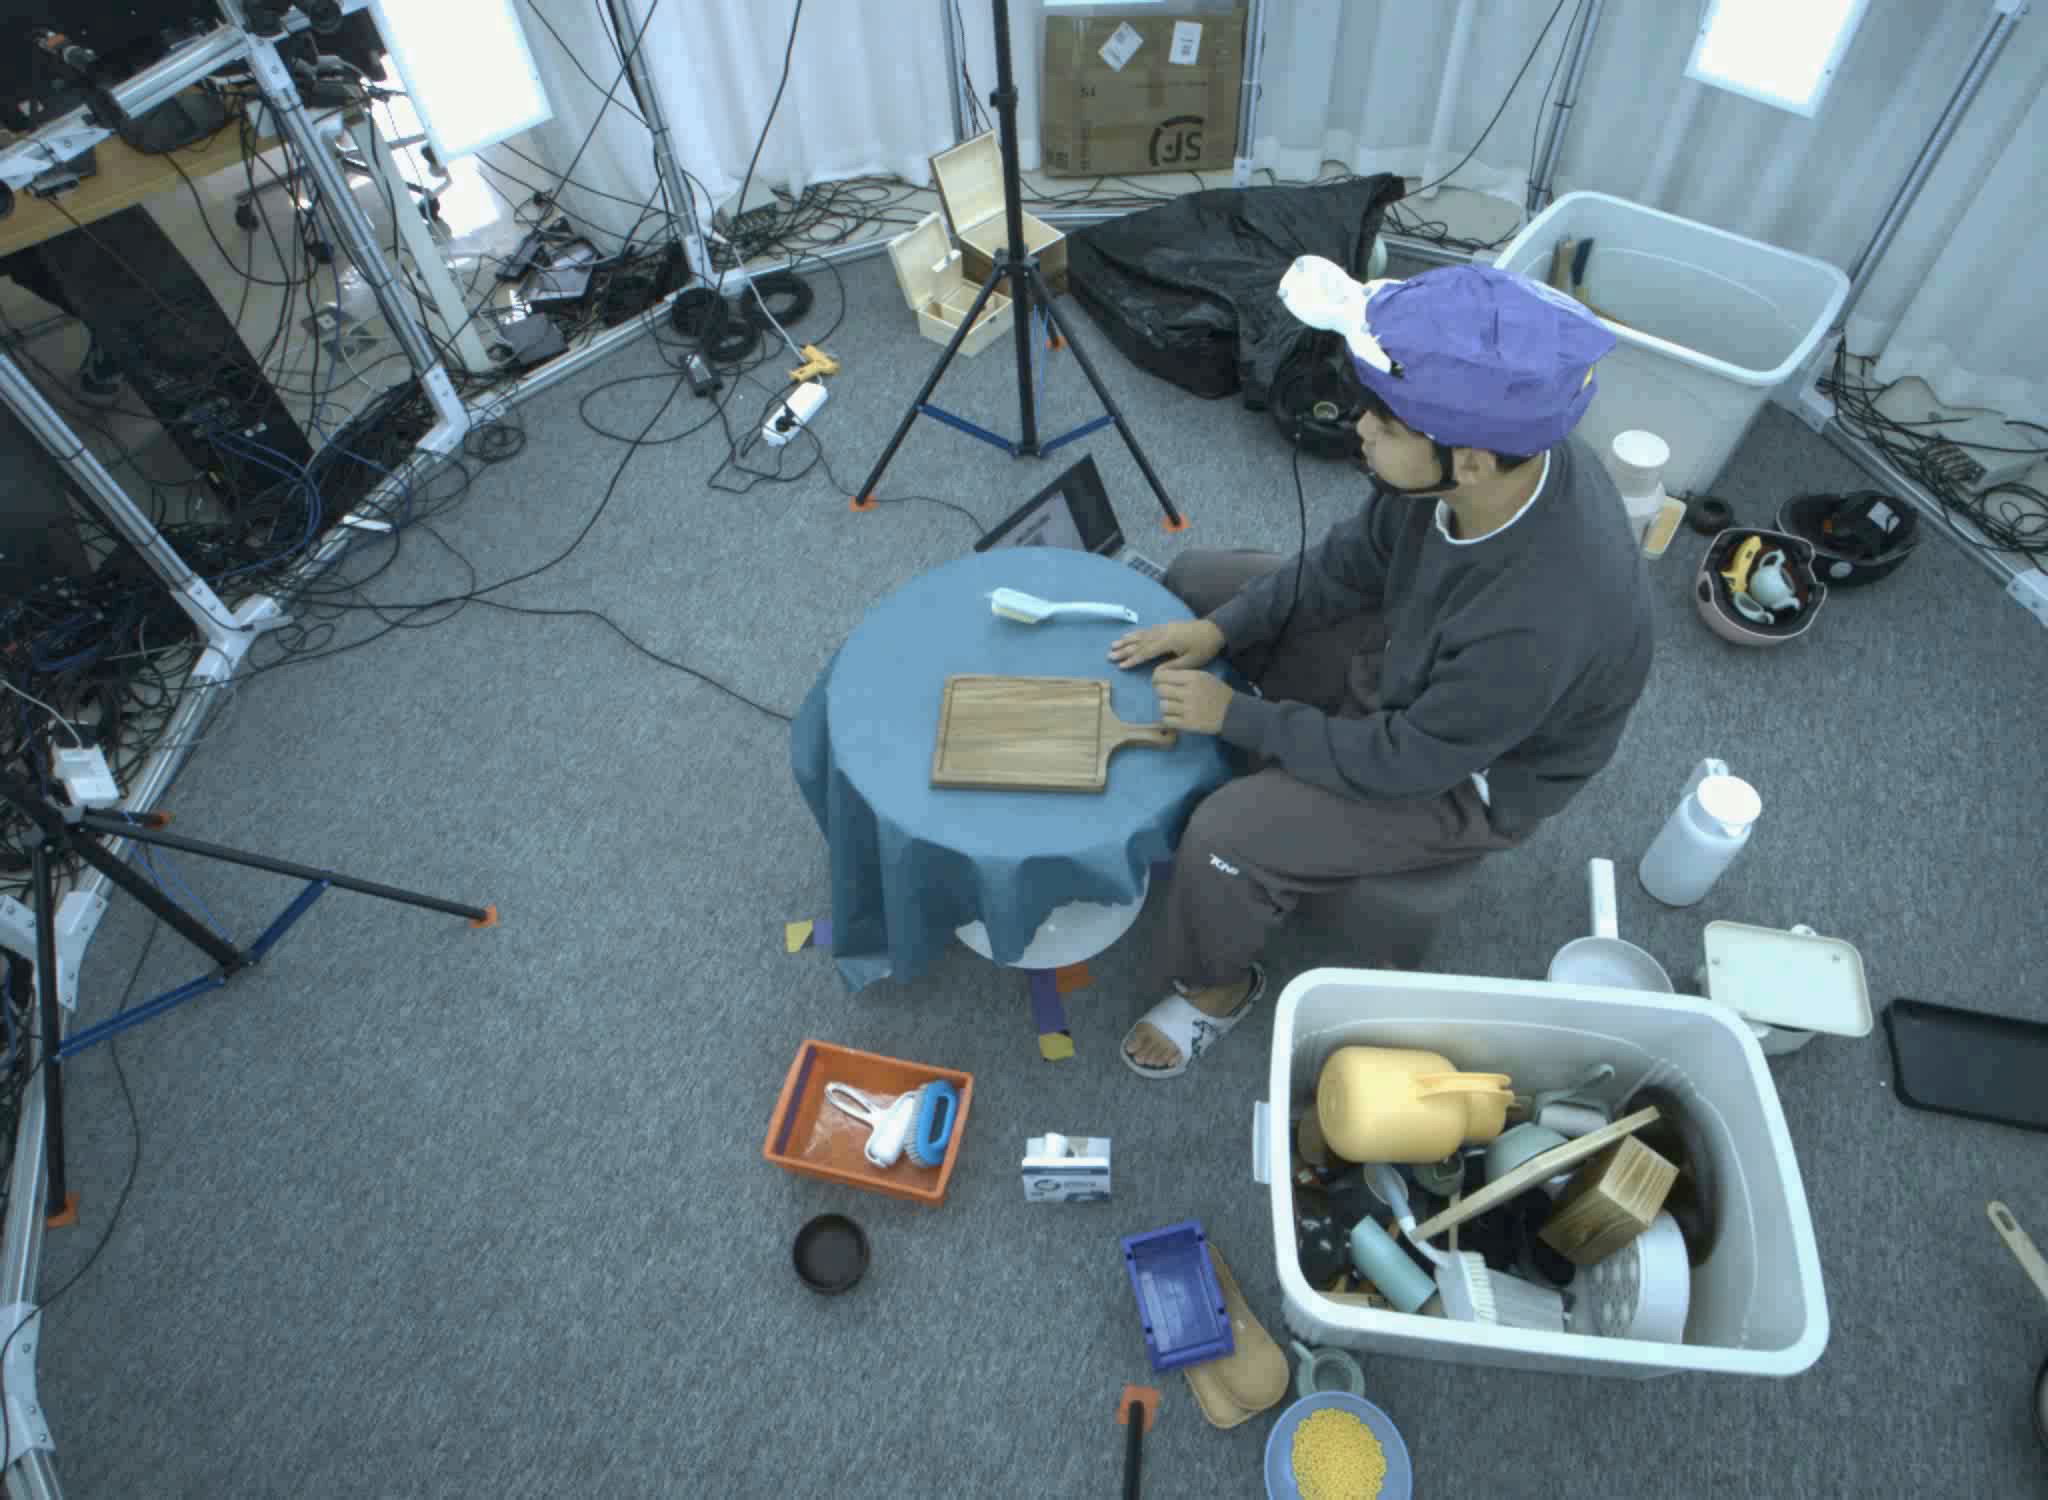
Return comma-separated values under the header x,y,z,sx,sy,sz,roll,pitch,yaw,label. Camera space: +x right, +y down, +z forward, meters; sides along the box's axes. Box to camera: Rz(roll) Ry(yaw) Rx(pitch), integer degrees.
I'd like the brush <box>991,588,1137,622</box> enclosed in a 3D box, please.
x,y,z,sx,sy,sz,roll,pitch,yaw,label
0.062,-0.219,1.922,0.230,0.050,0.037,5,56,-6,brush

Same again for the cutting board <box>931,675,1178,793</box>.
x,y,z,sx,sy,sz,roll,pitch,yaw,label
0.047,-0.025,1.791,0.351,0.023,0.199,3,55,3,cutting board
